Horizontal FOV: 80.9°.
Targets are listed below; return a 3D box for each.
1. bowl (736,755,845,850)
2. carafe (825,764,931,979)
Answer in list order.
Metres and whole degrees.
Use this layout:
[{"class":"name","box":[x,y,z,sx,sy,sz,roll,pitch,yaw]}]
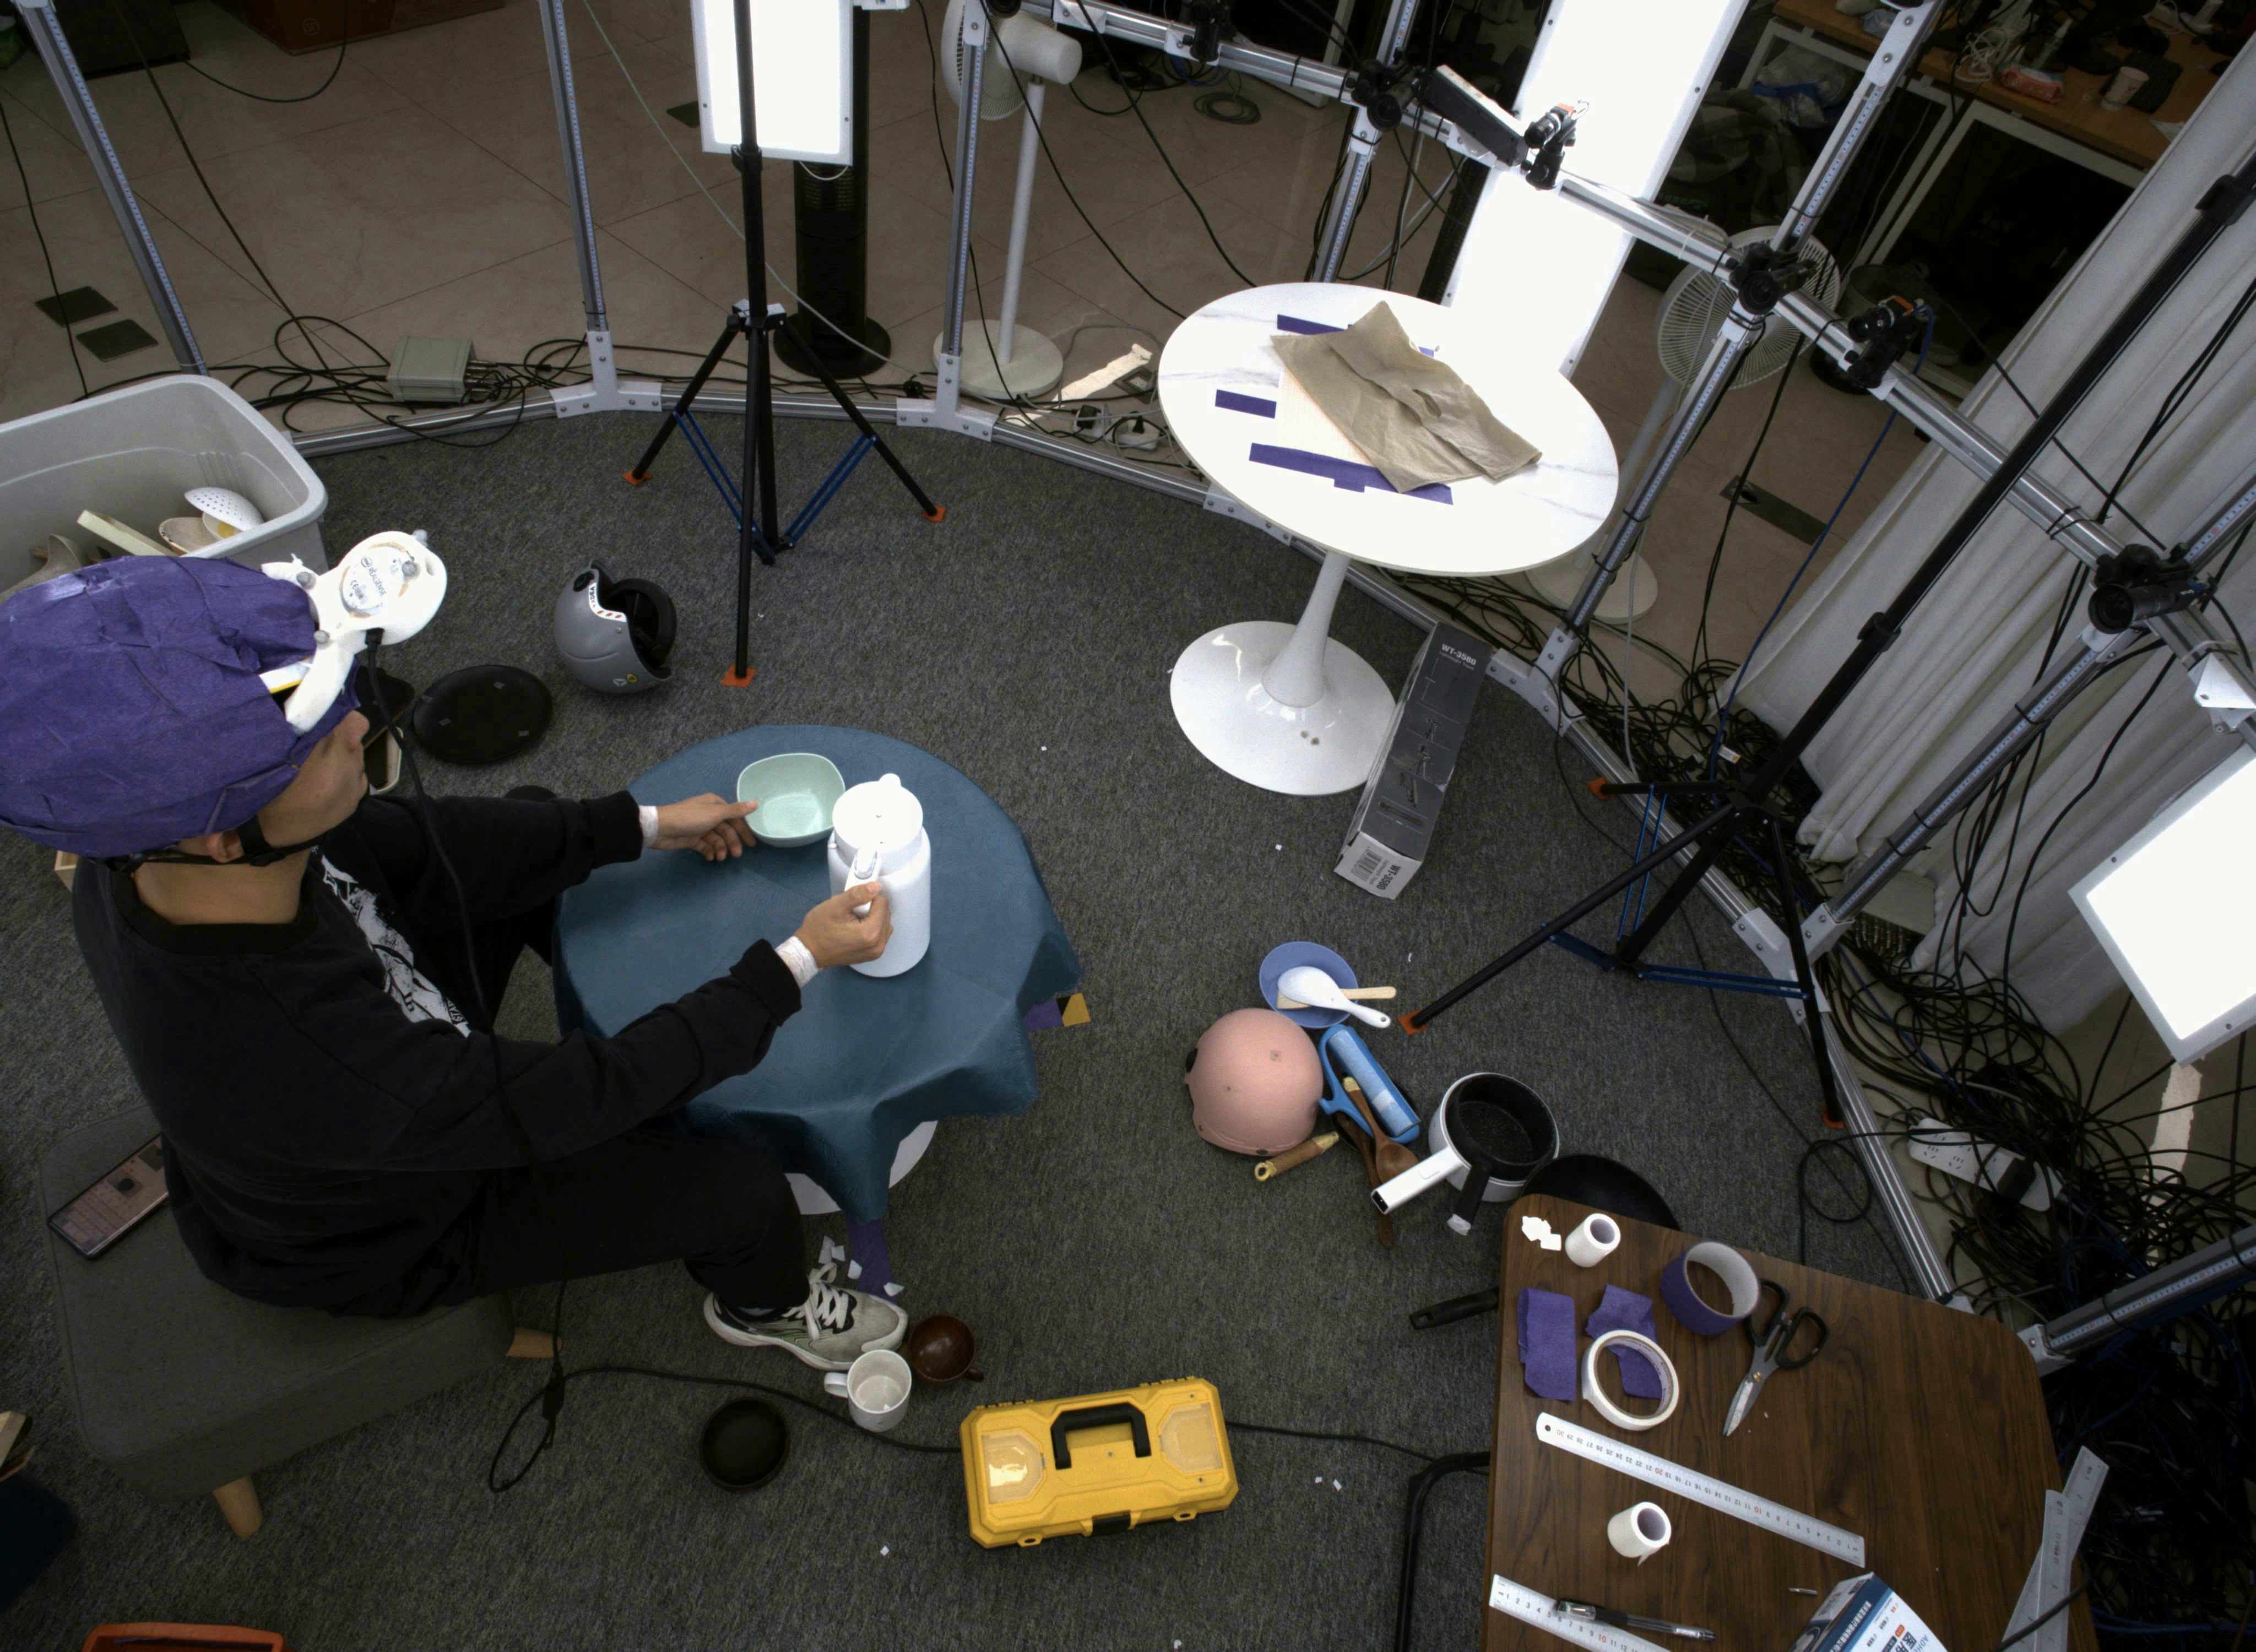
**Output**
[{"class":"bowl","box":[-0.441,-0.022,1.699,0.151,0.060,0.149,8,52,-8]},{"class":"carafe","box":[-0.294,0.076,1.524,0.123,0.274,0.170,9,53,-4]}]
